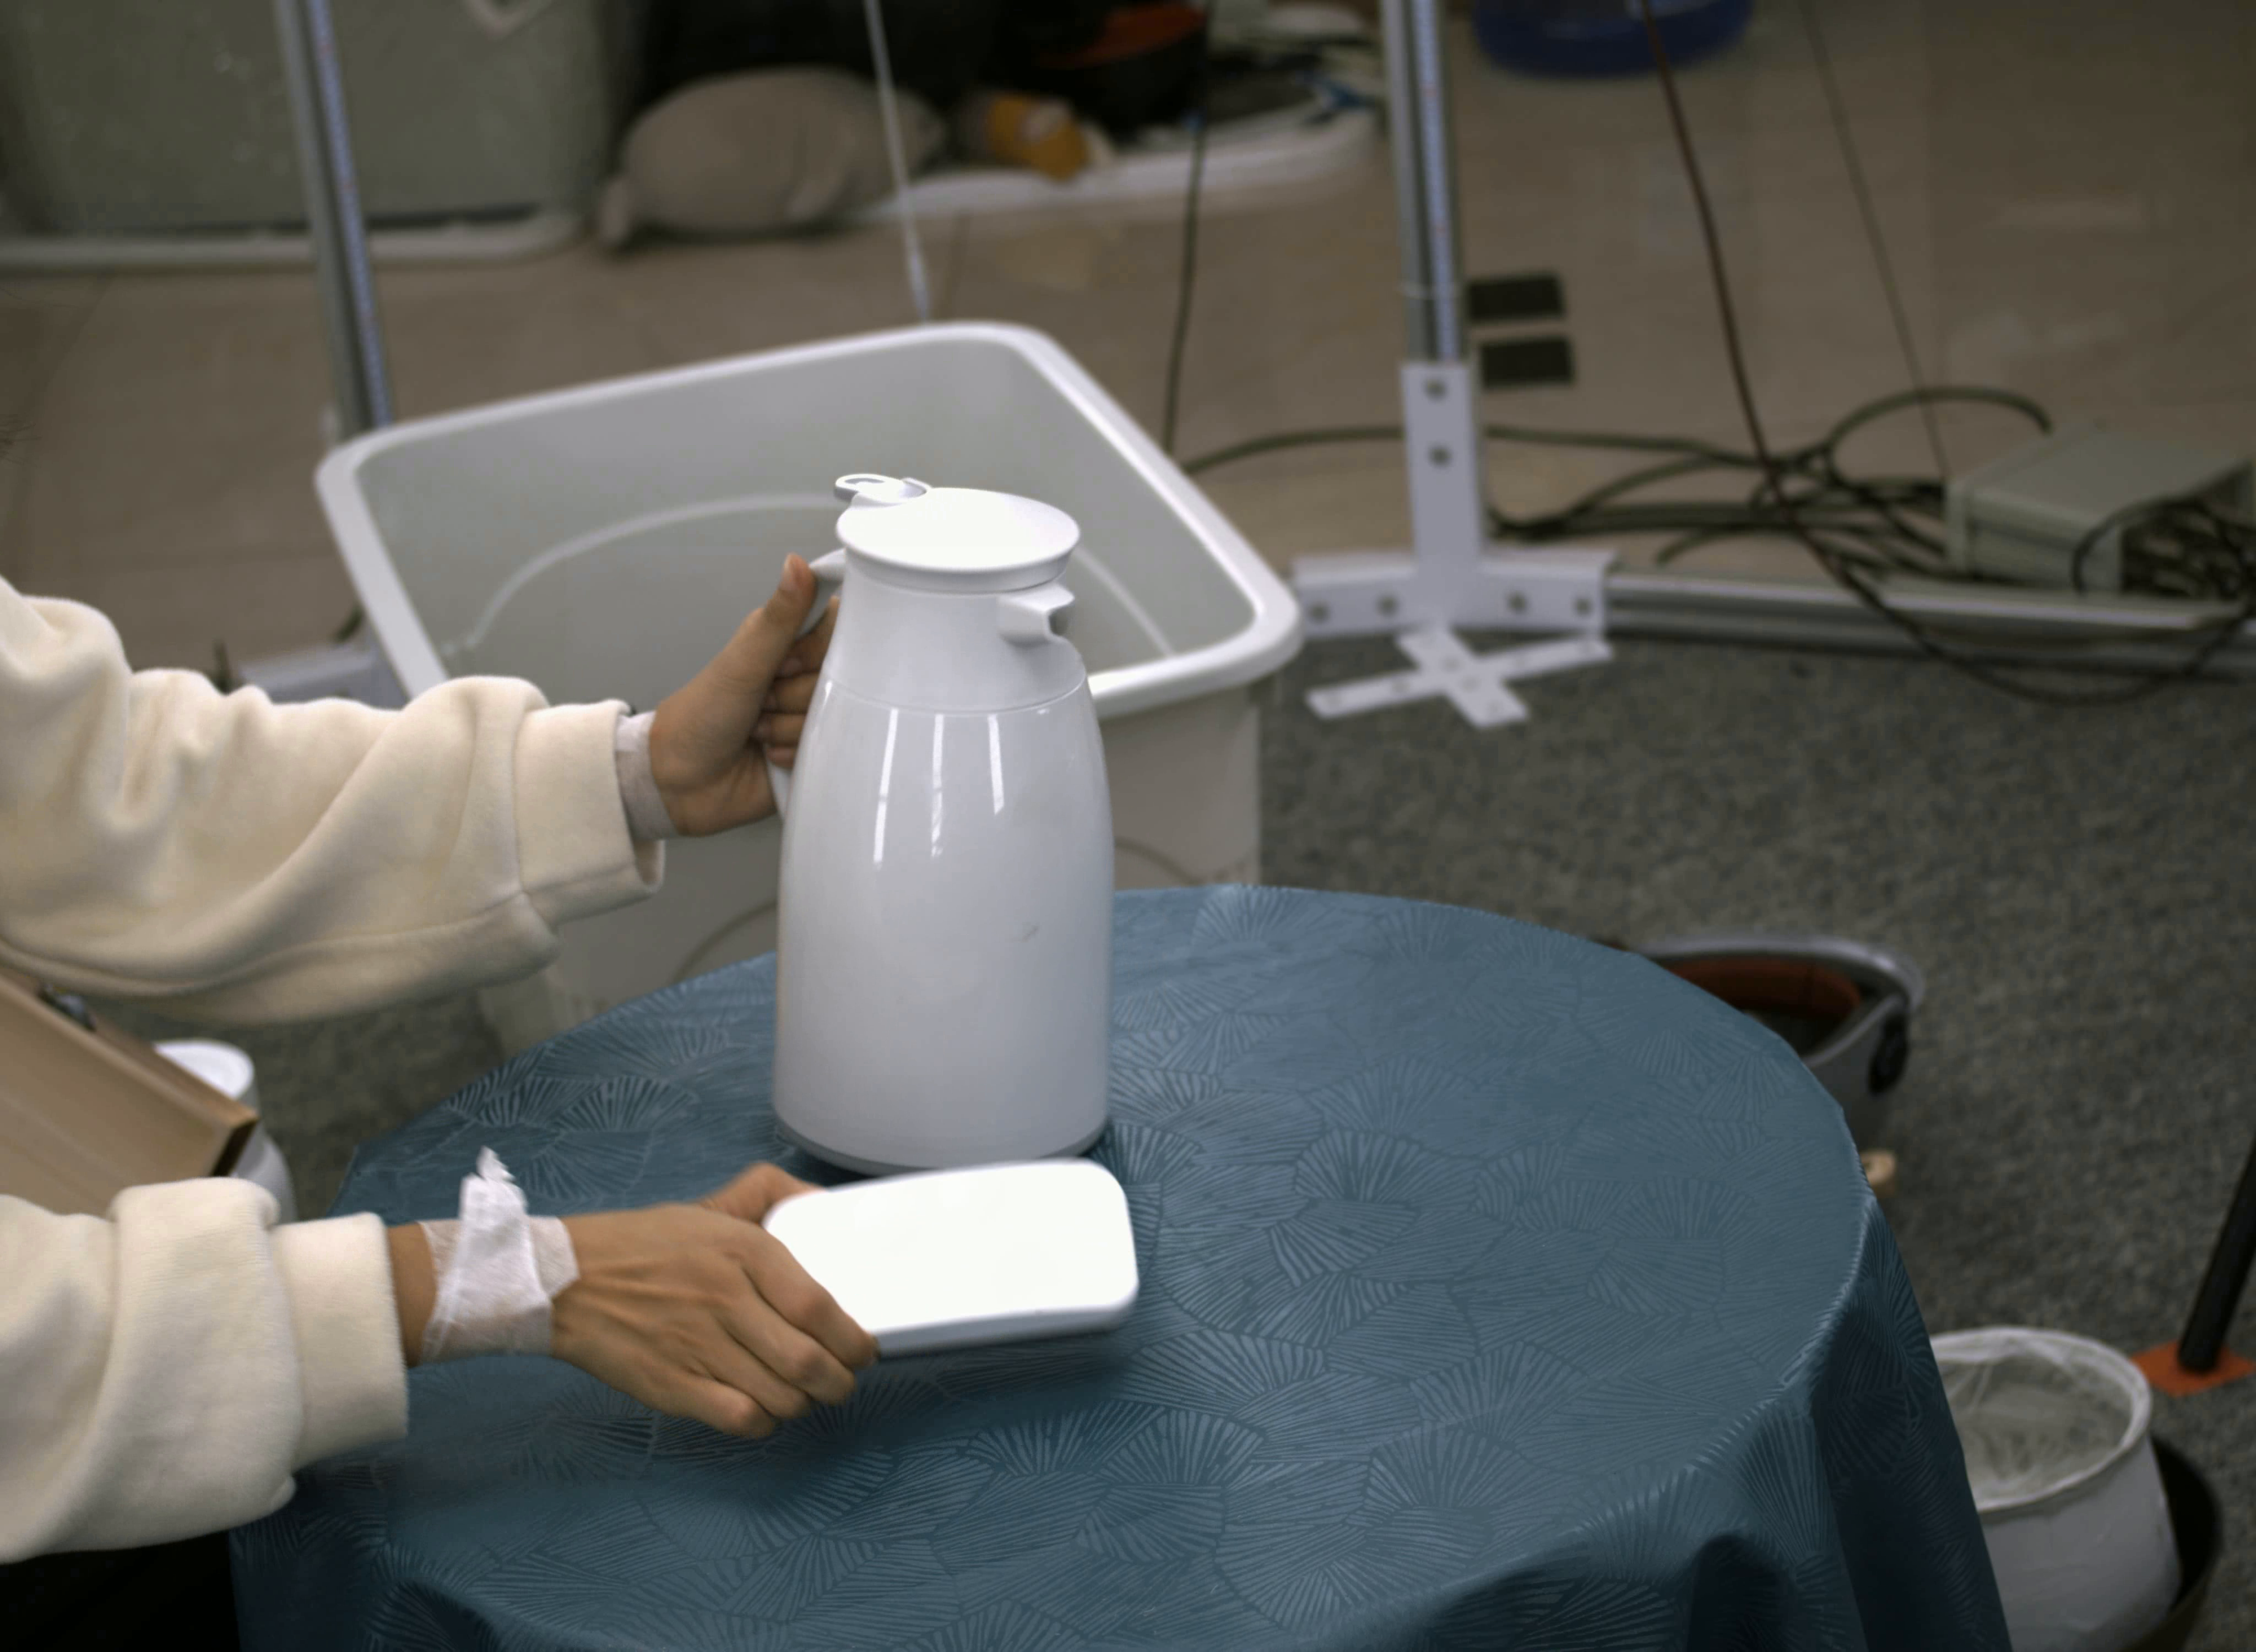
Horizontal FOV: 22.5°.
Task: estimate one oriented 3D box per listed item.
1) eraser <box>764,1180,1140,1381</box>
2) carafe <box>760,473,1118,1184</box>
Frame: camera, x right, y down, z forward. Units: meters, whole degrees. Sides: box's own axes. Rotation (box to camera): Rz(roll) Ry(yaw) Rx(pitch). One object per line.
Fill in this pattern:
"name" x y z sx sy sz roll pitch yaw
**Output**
"eraser" -0.063 0.160 2.019 0.131 0.035 0.062 -5 53 -6
"carafe" -0.082 -0.008 2.164 0.131 0.252 0.166 -19 30 -39
